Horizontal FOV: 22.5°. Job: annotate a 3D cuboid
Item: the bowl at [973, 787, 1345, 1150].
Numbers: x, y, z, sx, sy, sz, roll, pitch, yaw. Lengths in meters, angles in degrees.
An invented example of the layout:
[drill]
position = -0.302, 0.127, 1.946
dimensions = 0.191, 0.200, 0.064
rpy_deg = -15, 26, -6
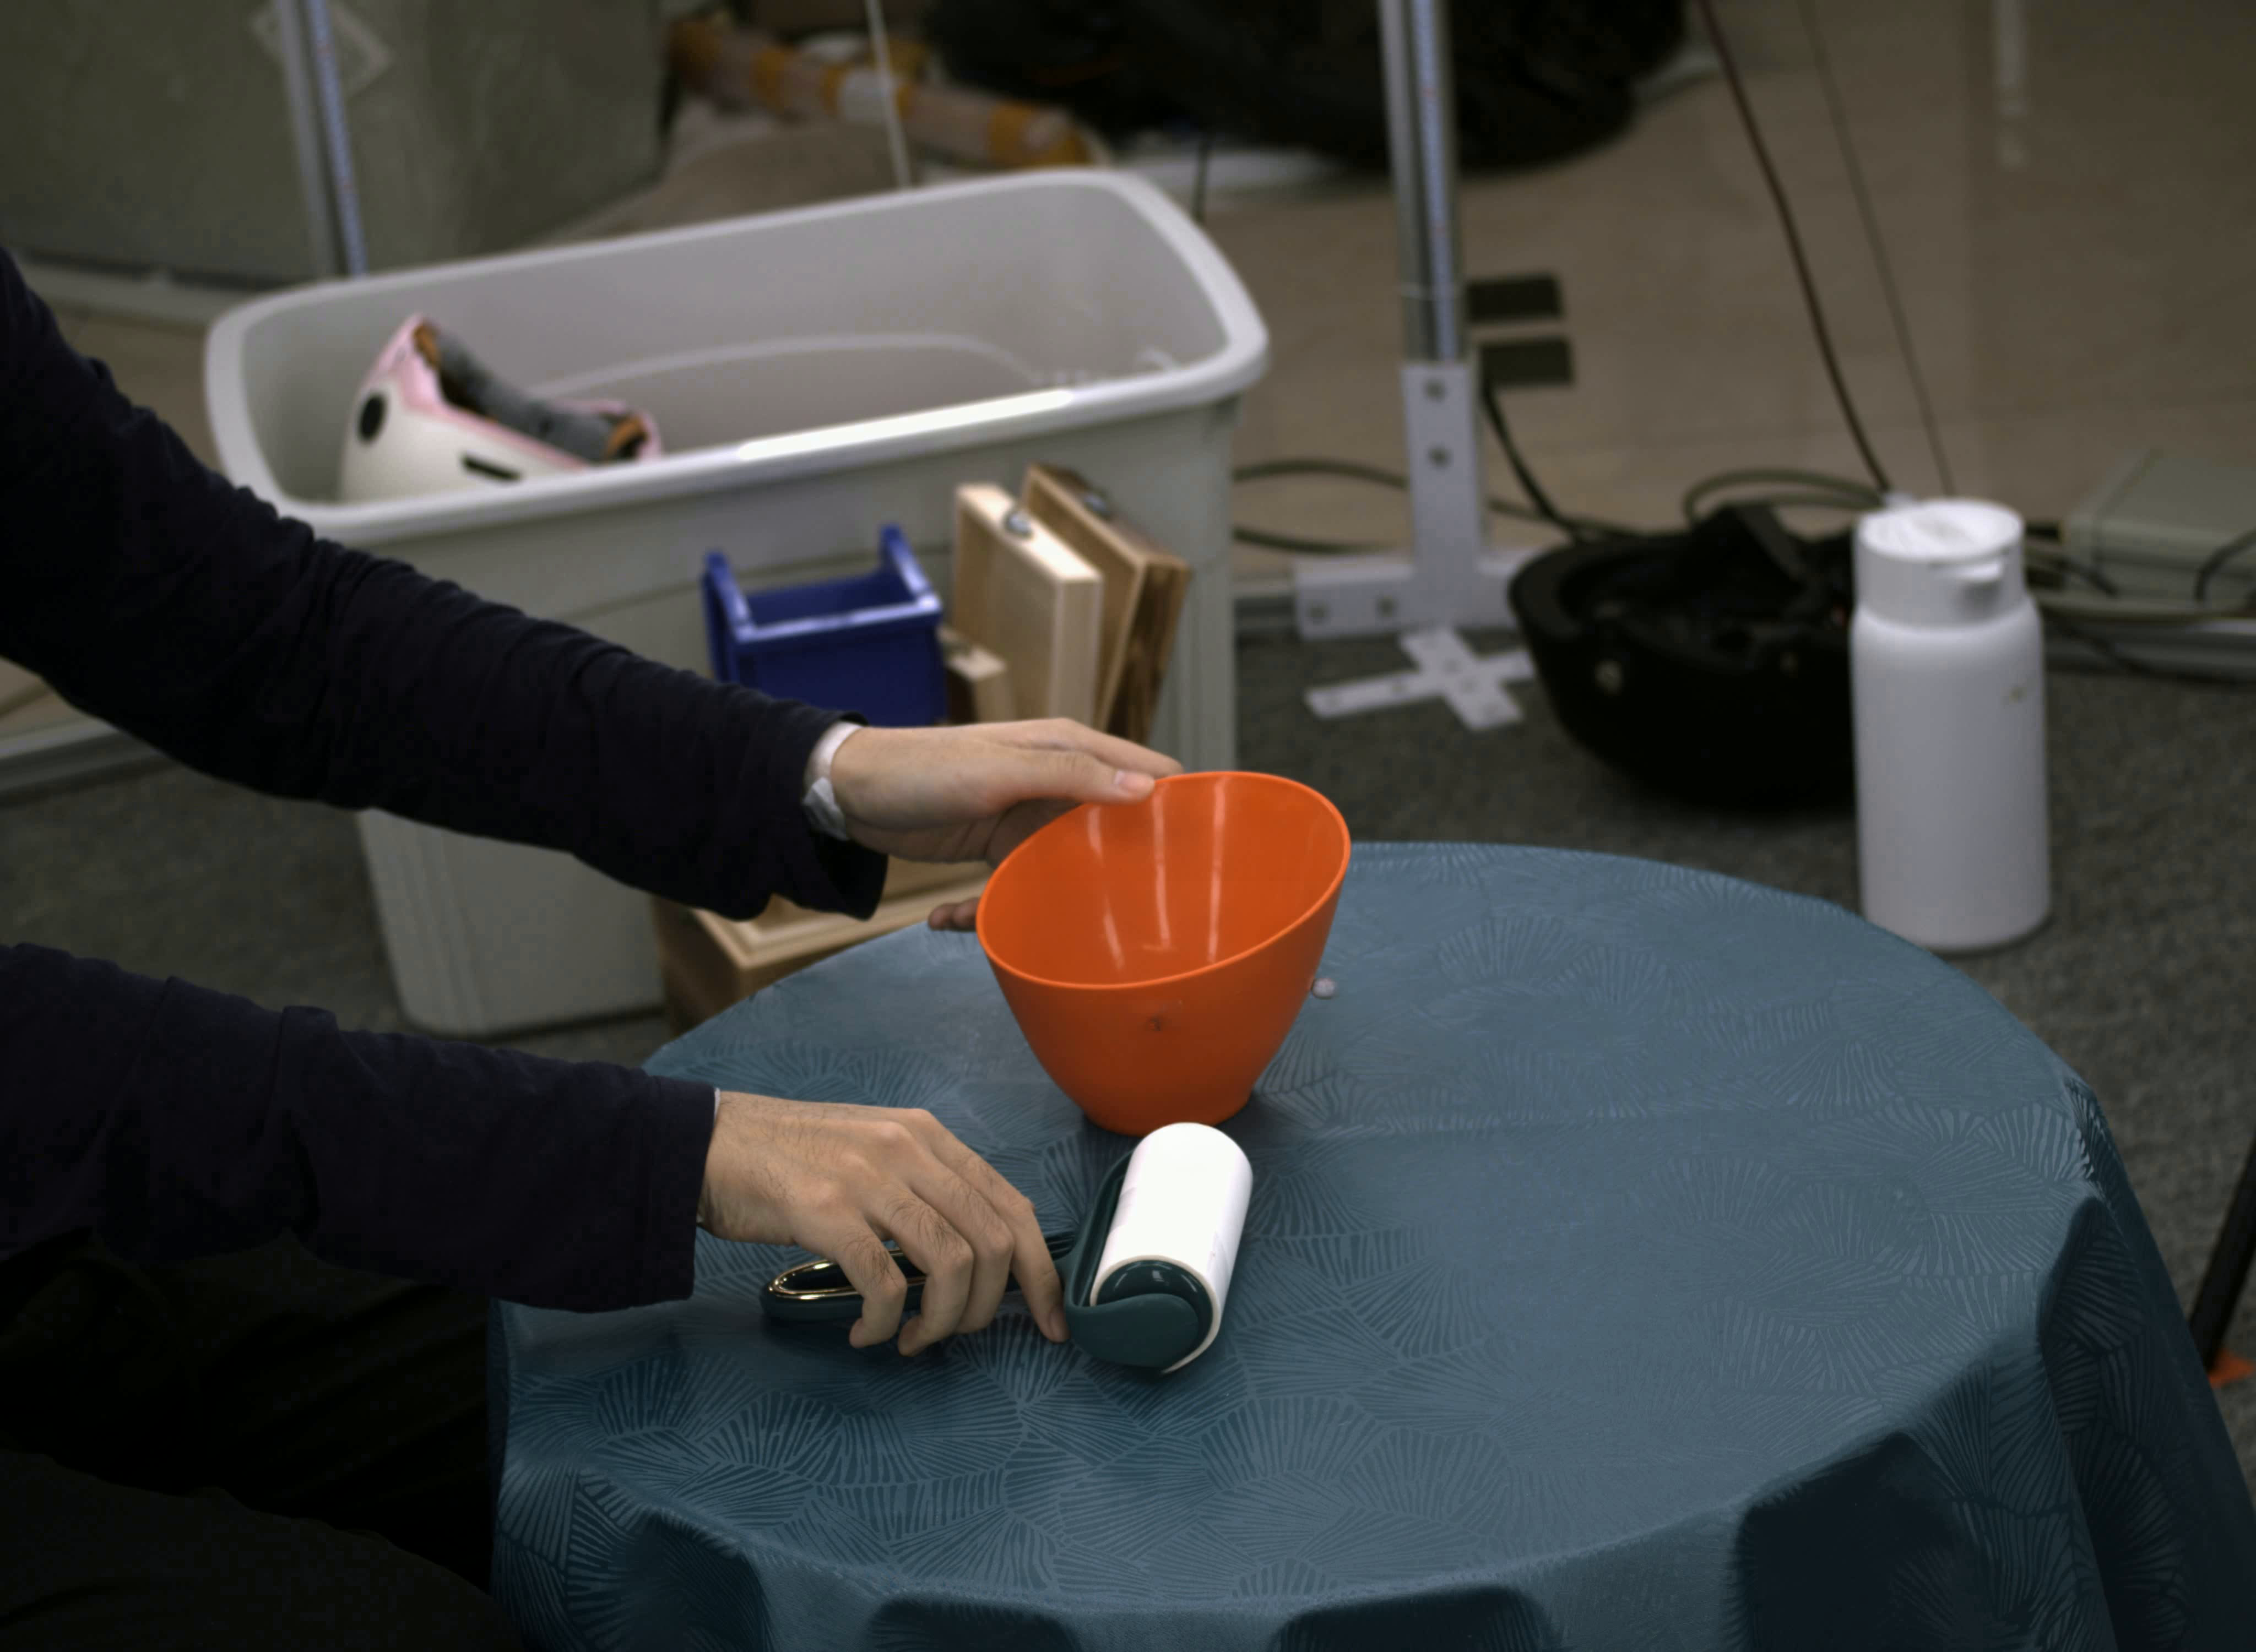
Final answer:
[bowl]
position = 0.017, 0.061, 2.203
dimensions = 0.148, 0.106, 0.146
rpy_deg = -7, 24, 3

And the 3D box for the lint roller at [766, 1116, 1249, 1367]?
[lint roller]
position = -0.049, 0.158, 2.075
dimensions = 0.180, 0.049, 0.132
rpy_deg = -5, 25, 11
